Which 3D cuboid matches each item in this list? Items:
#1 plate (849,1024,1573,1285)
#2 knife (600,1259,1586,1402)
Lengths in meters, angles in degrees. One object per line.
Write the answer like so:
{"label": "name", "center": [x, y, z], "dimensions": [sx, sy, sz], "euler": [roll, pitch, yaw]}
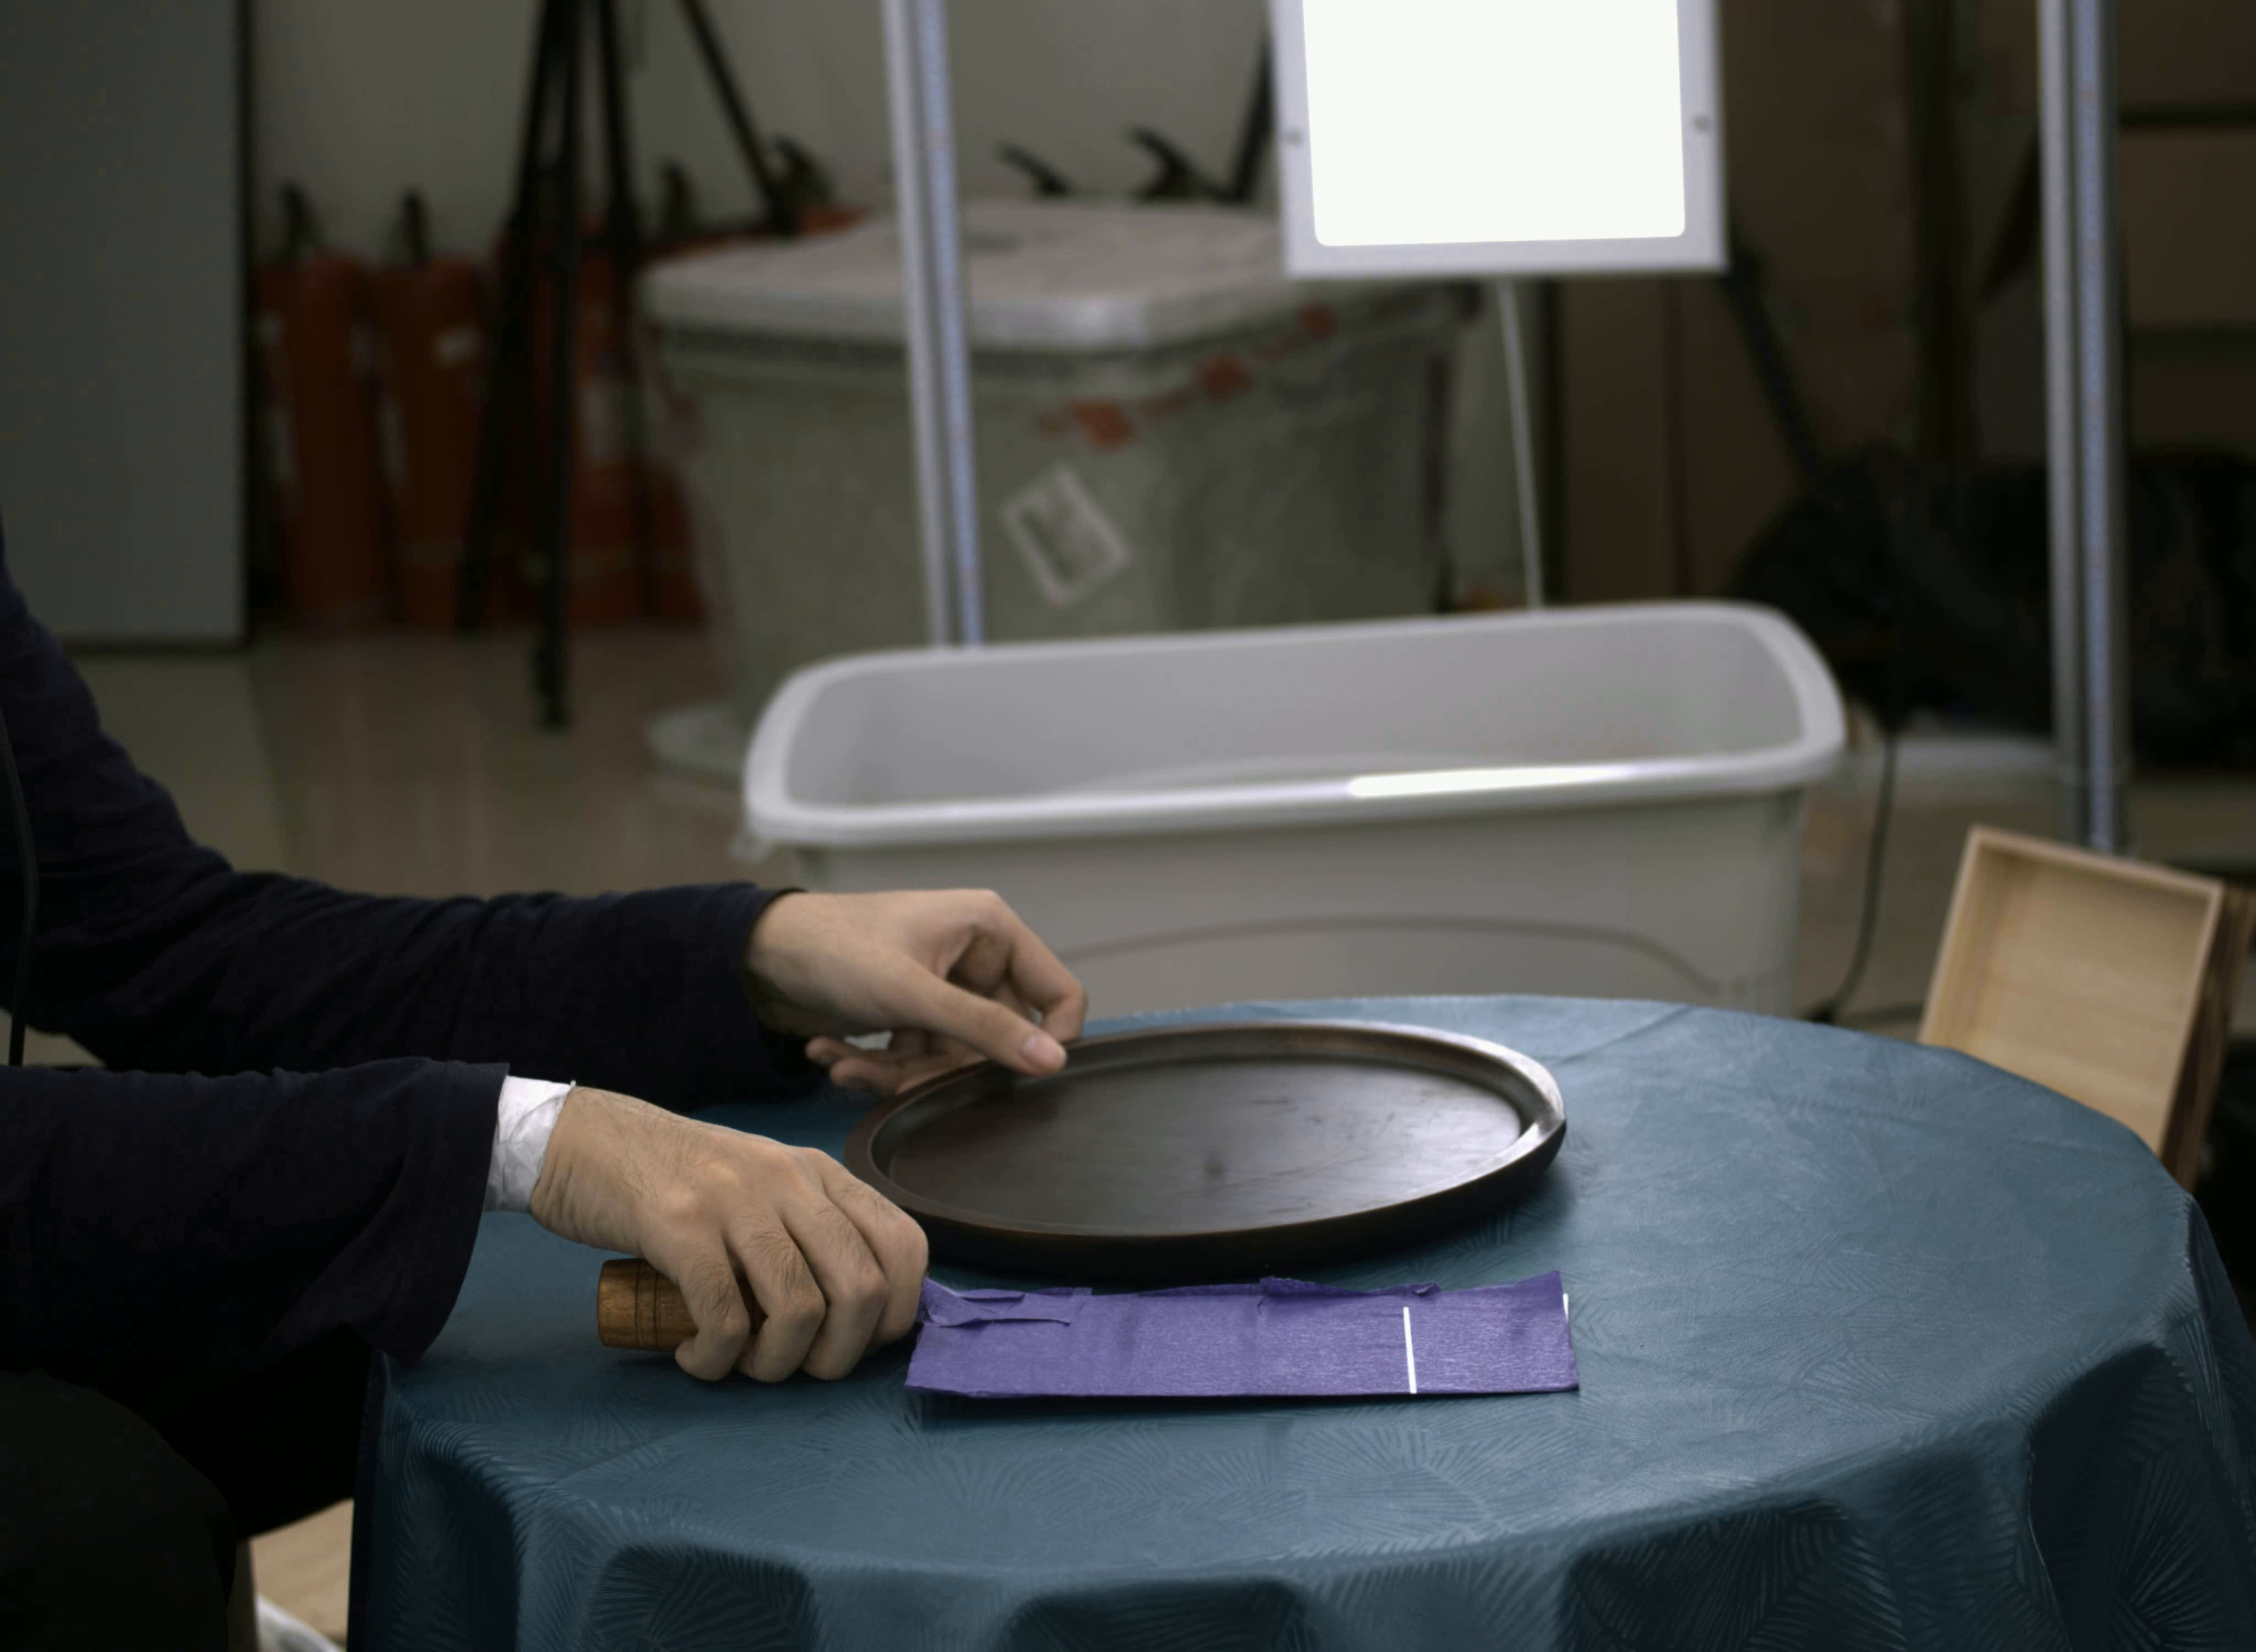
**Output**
{"label": "plate", "center": [0.029, 0.111, 1.906], "dimensions": [0.254, 0.029, 0.254], "euler": [-4, 14, 0]}
{"label": "knife", "center": [-0.014, 0.157, 1.726], "dimensions": [0.316, 0.032, 0.103], "euler": [-3, 13, 6]}
